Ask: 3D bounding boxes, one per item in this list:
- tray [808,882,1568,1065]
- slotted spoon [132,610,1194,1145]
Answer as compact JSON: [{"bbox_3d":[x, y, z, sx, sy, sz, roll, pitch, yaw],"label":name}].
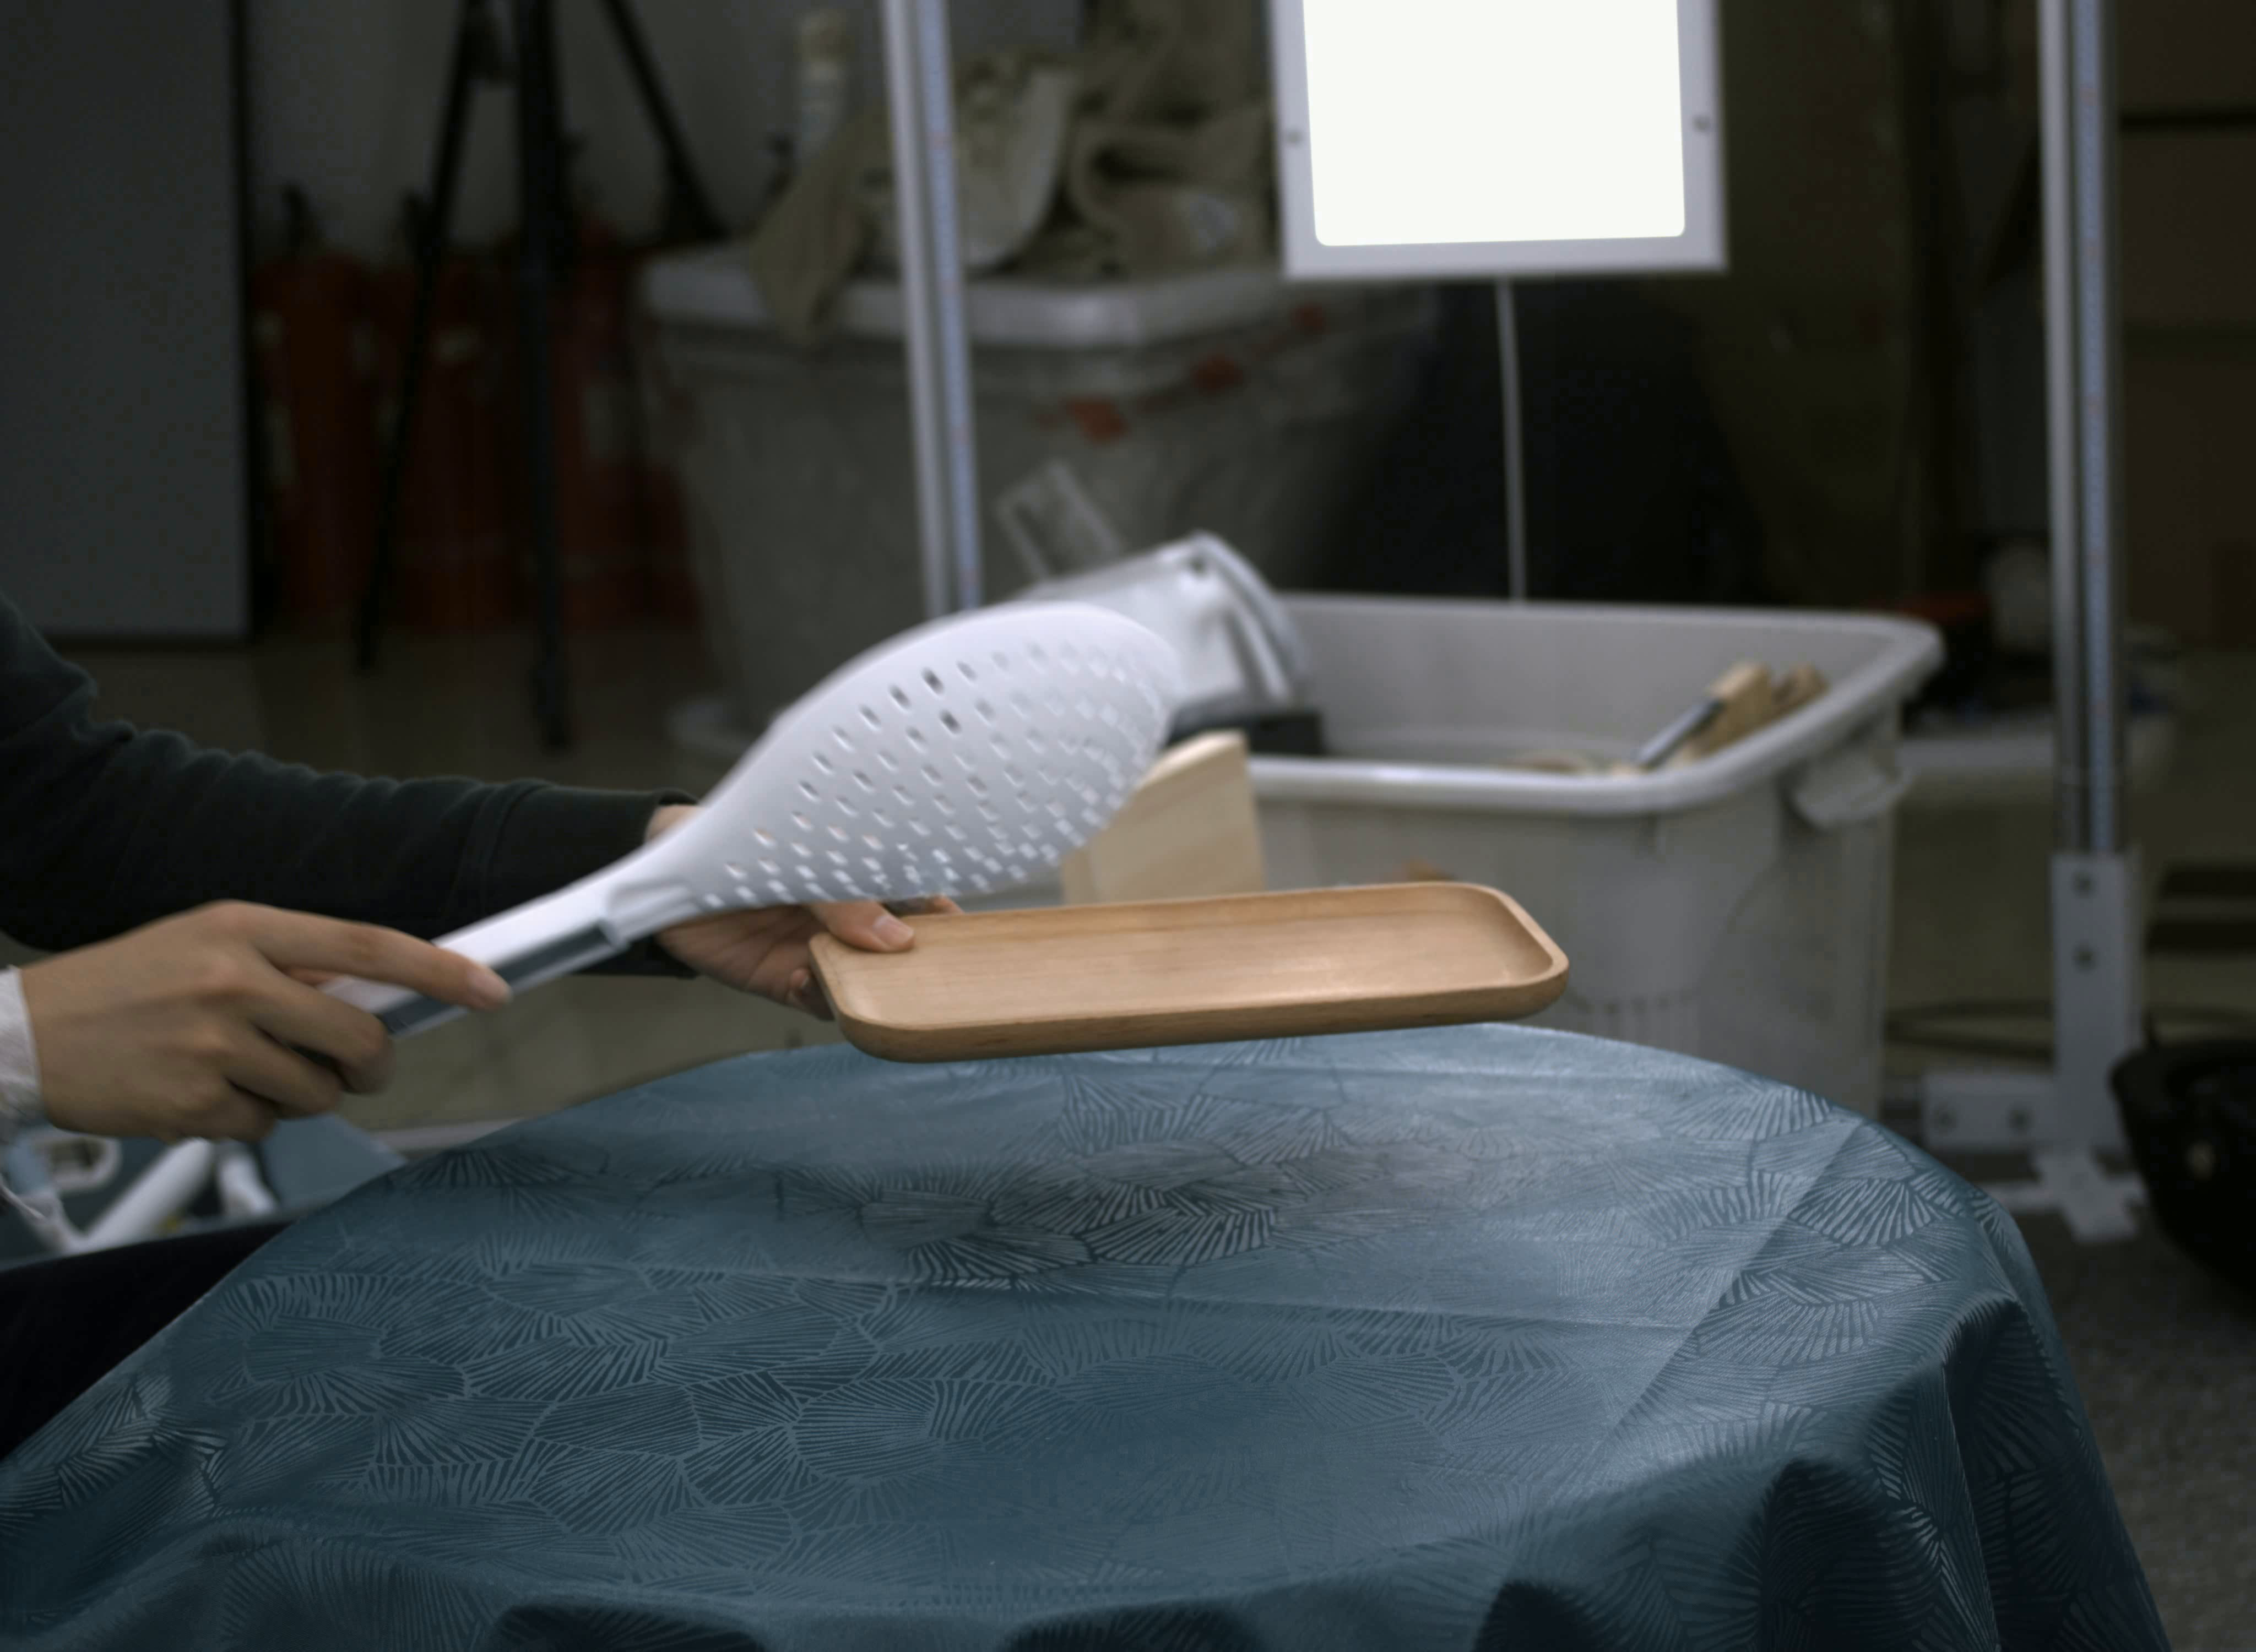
[{"bbox_3d":[0.020,0.050,1.874,0.248,0.023,0.131,-4,14,-8],"label":"tray"},{"bbox_3d":[-0.141,0.023,1.689,0.351,0.046,0.135,-18,-30,6],"label":"slotted spoon"}]
